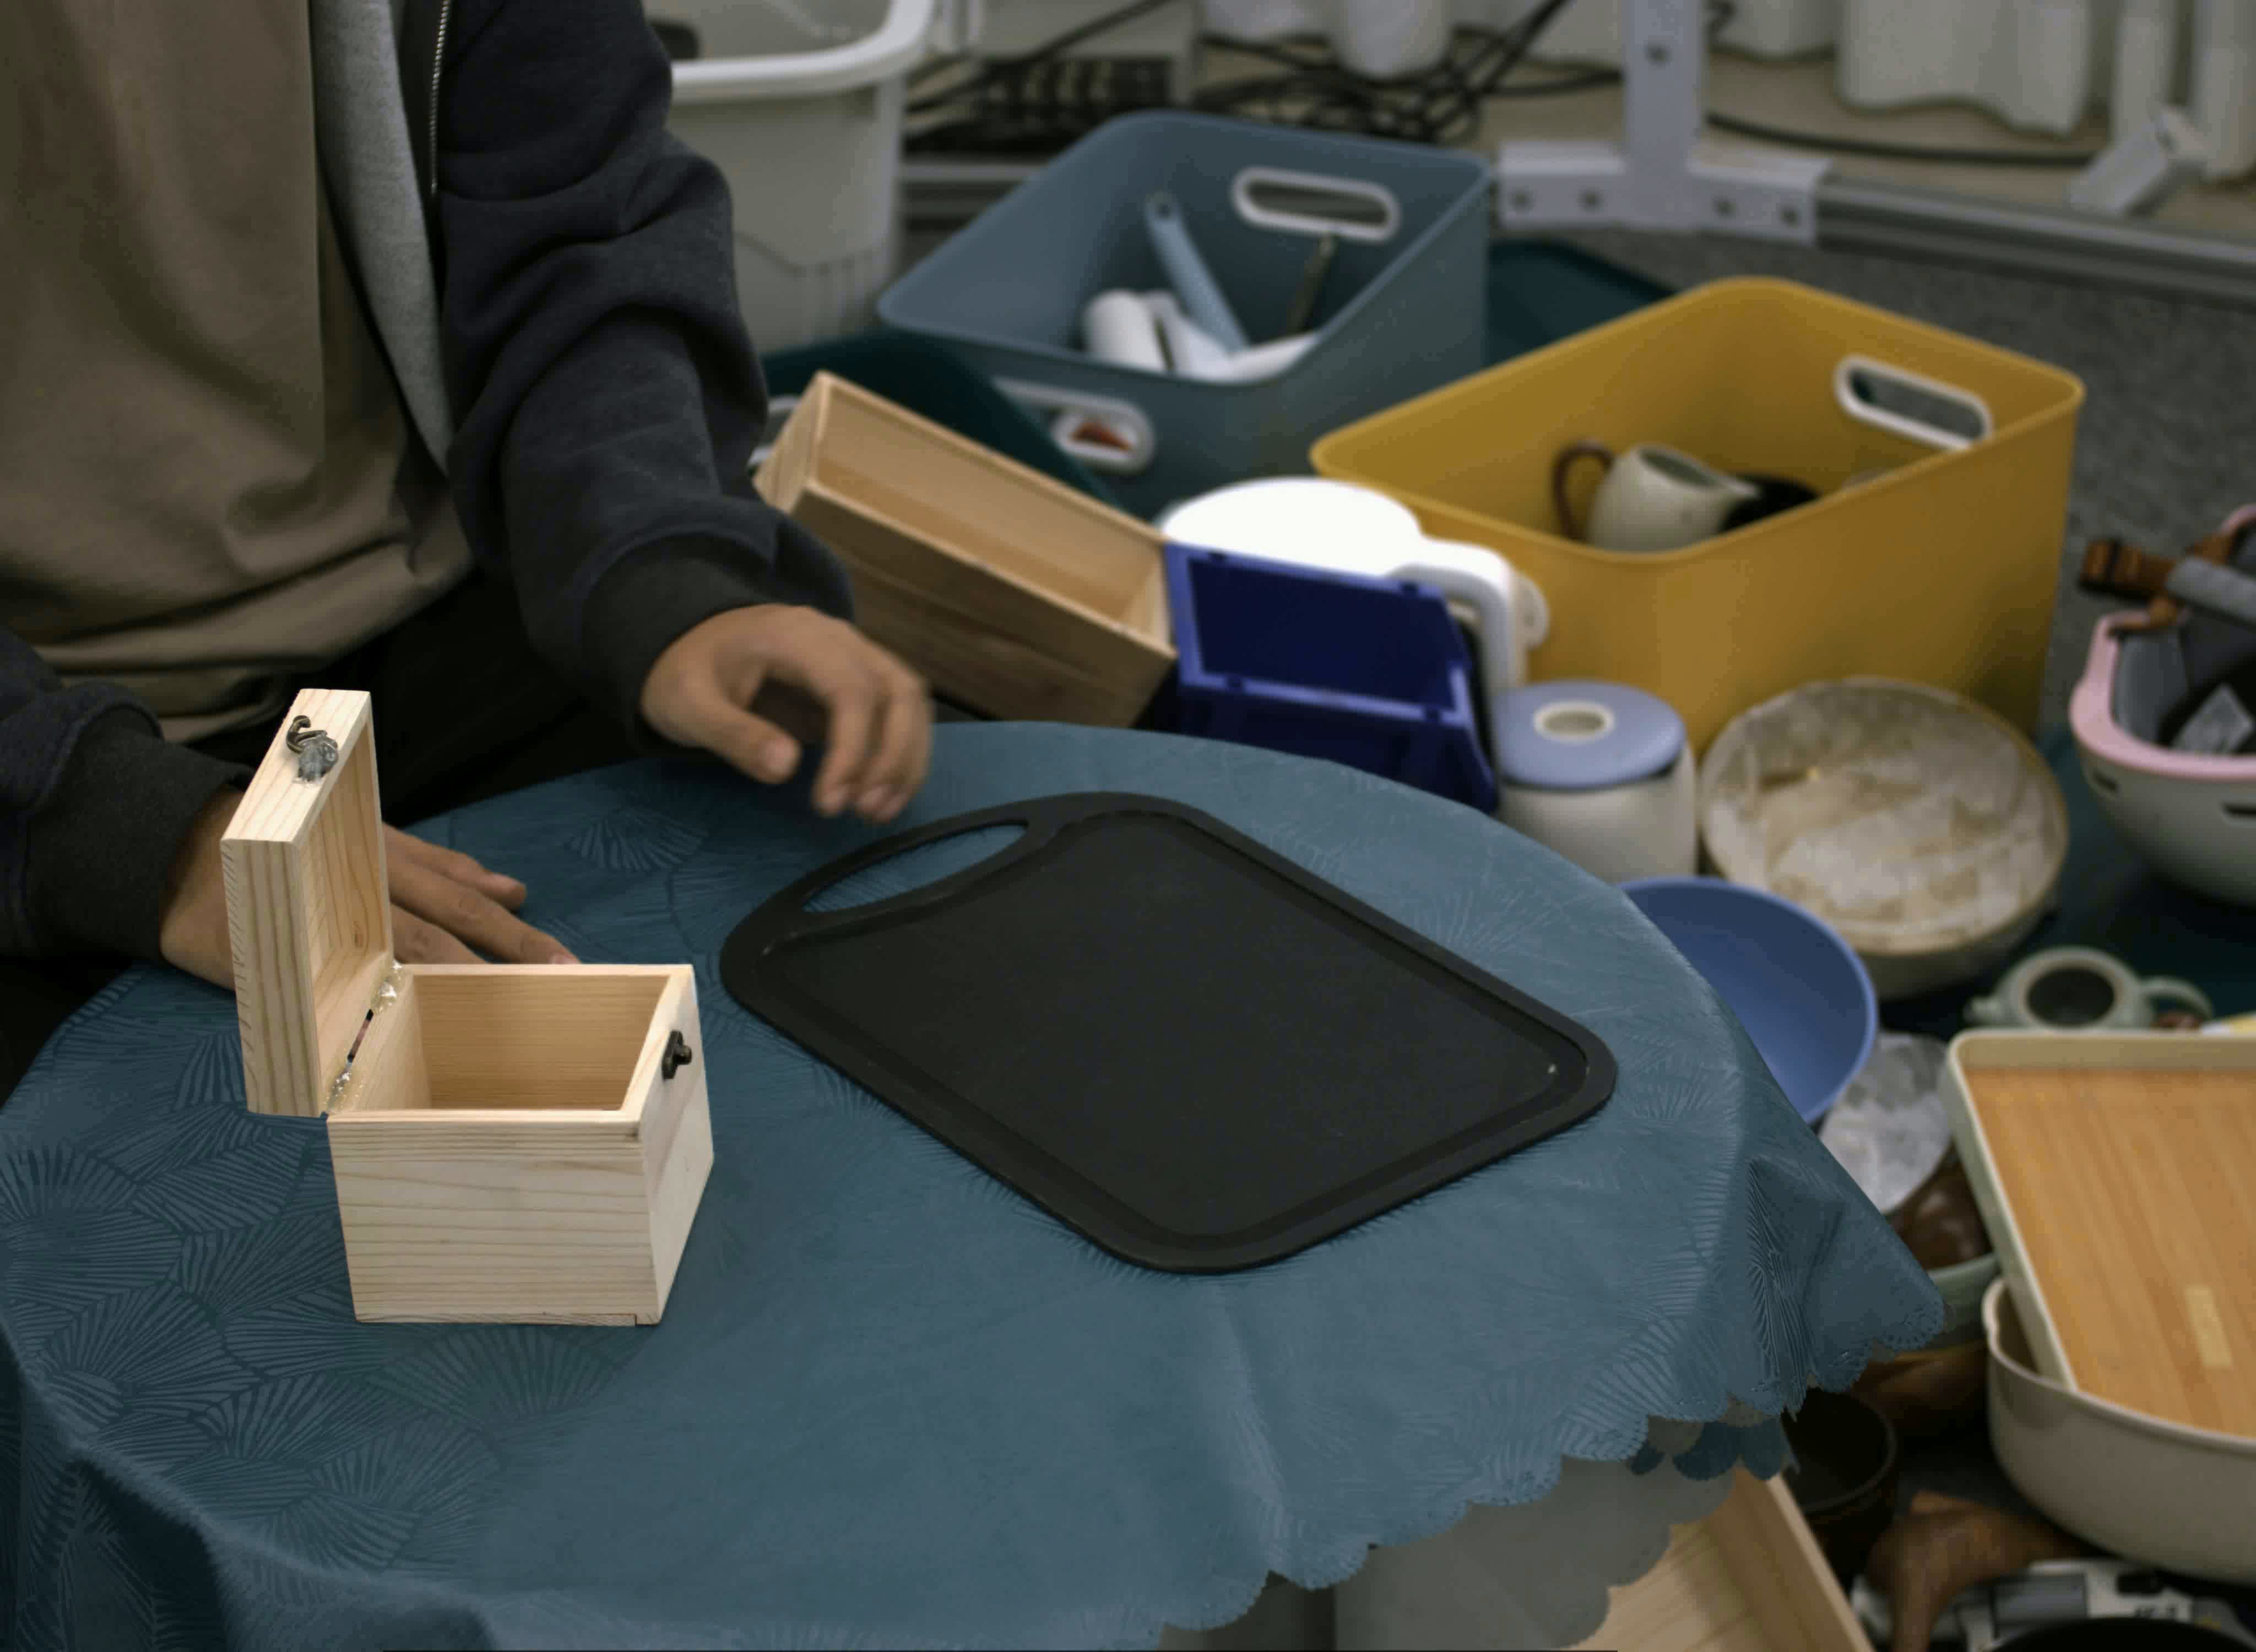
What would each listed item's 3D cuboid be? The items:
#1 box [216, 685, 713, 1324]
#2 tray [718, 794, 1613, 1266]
[{"bbox_3d":[-0.209,0.057,1.810,0.133,0.182,0.104,-1,27,6],"label":"box"},{"bbox_3d":[0.003,0.062,1.969,0.213,0.009,0.326,-21,32,-31],"label":"tray"}]
